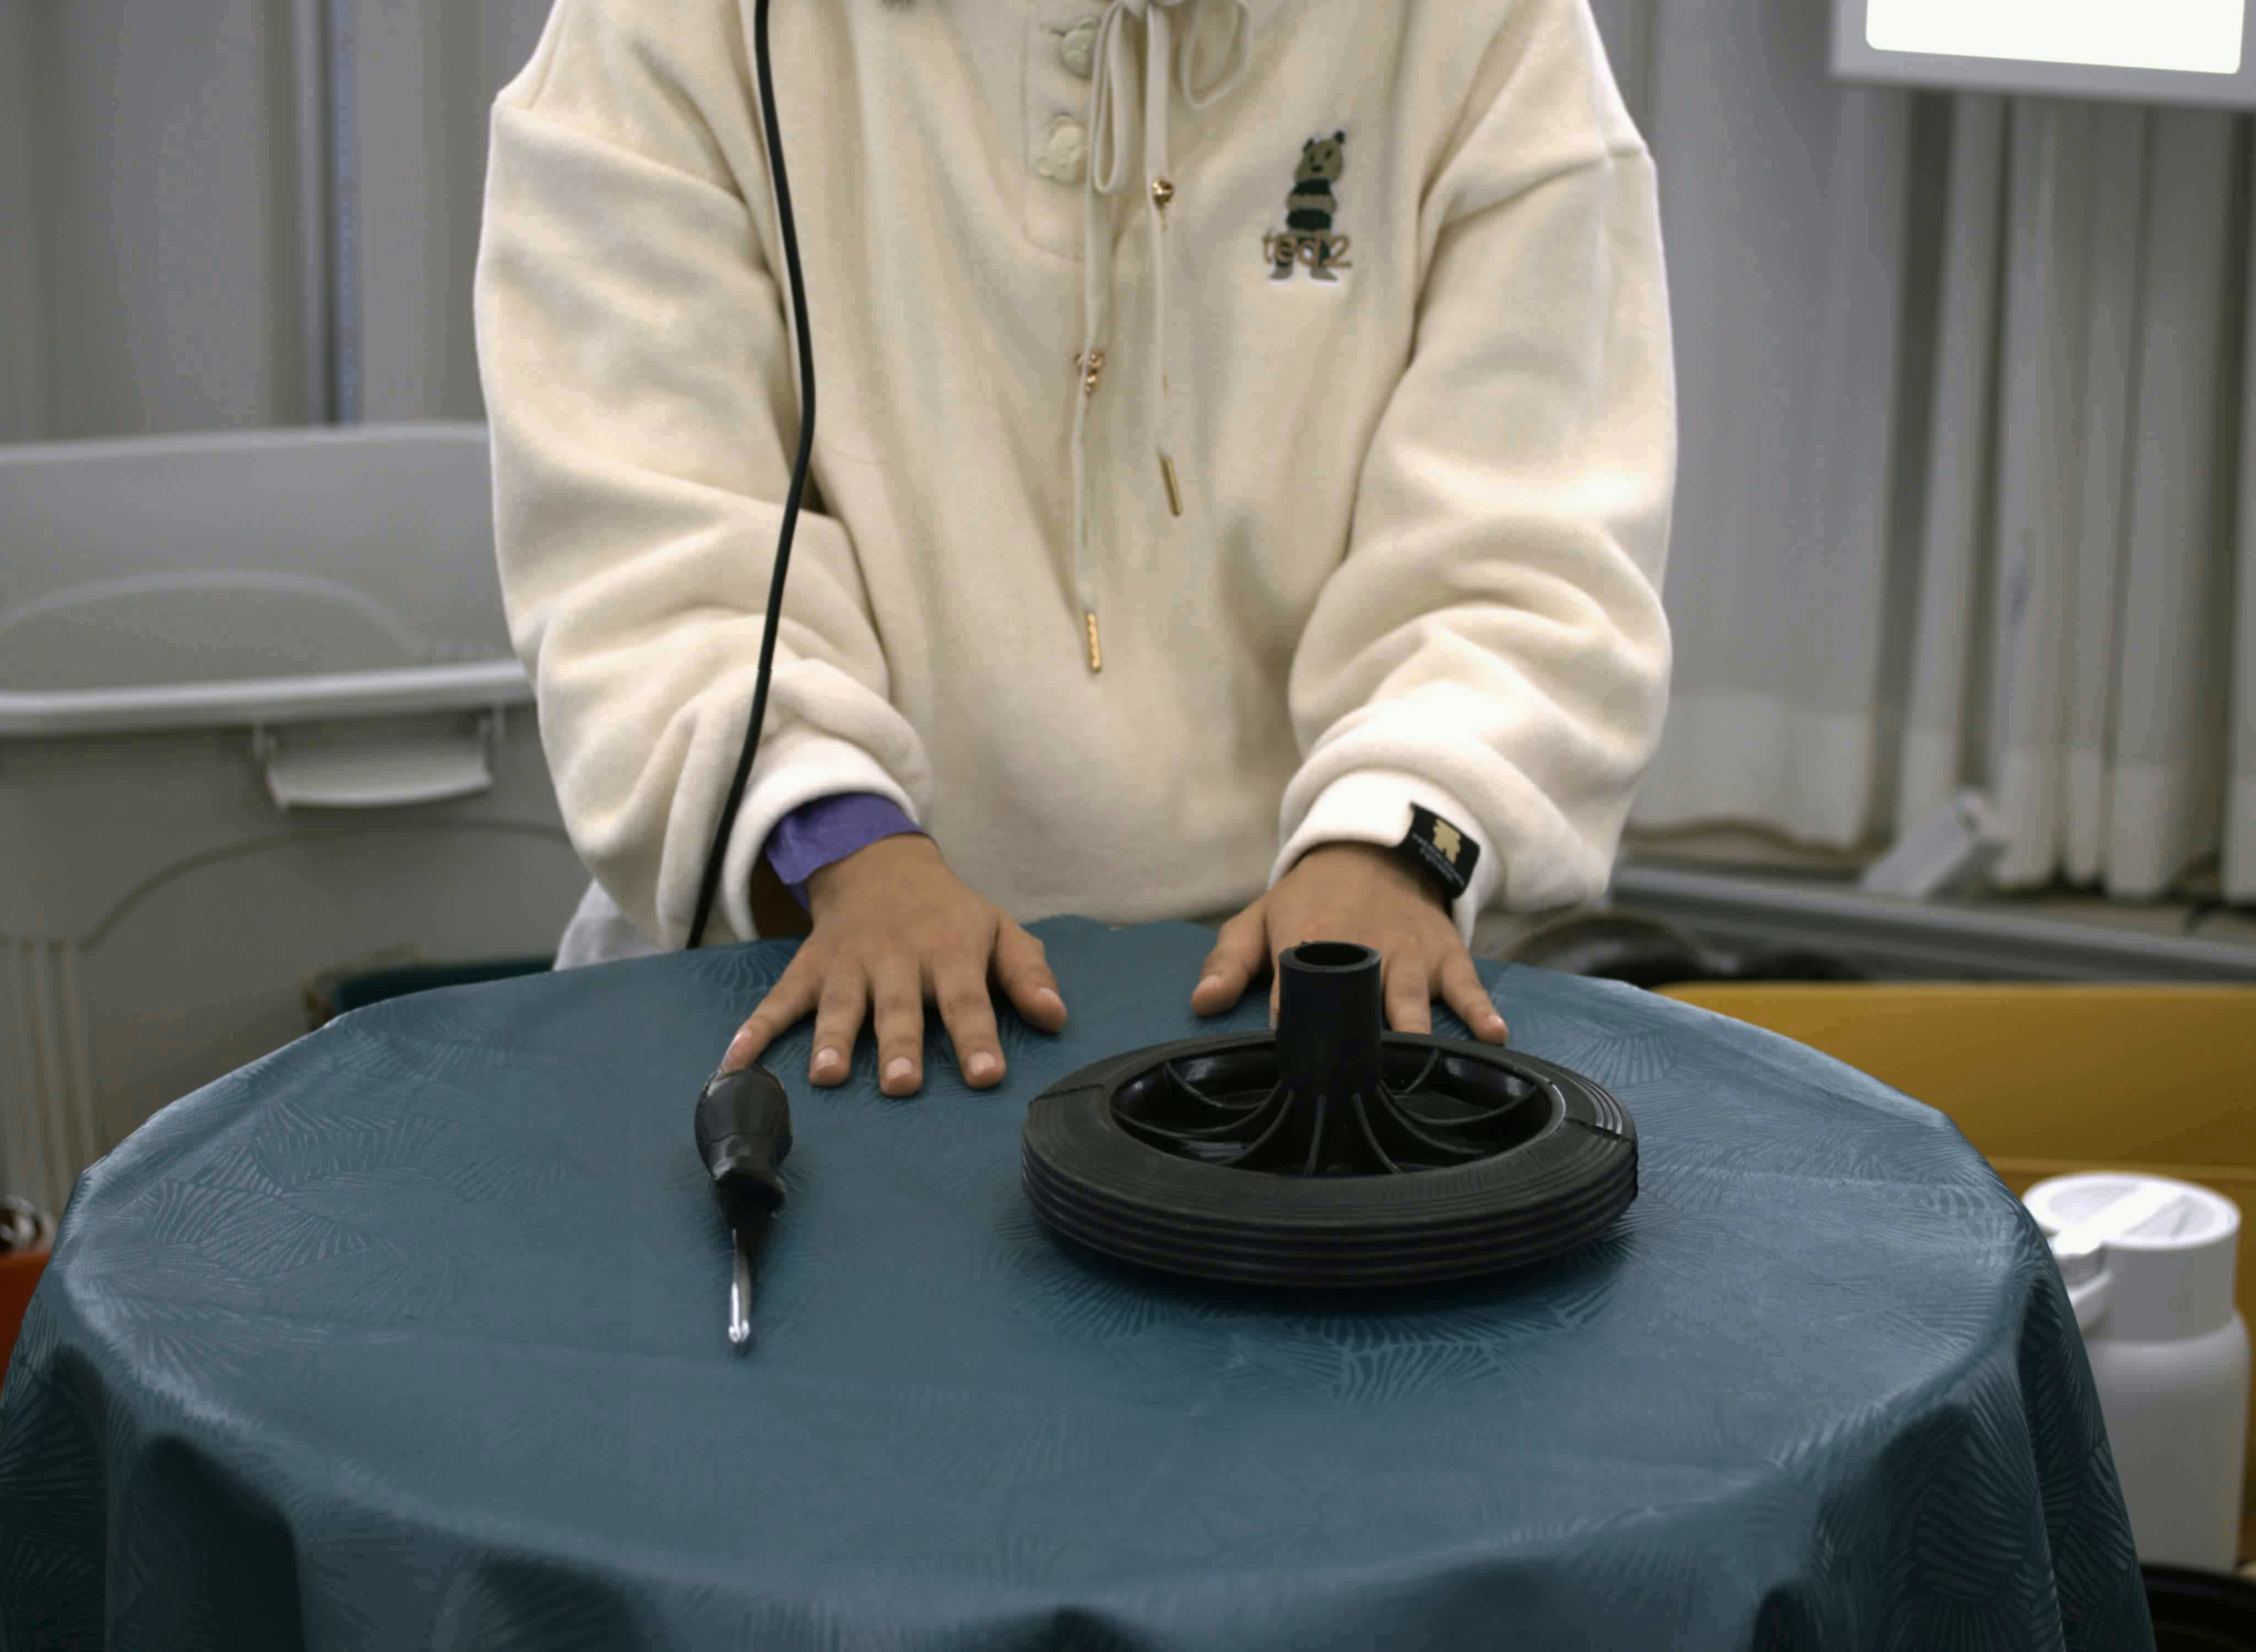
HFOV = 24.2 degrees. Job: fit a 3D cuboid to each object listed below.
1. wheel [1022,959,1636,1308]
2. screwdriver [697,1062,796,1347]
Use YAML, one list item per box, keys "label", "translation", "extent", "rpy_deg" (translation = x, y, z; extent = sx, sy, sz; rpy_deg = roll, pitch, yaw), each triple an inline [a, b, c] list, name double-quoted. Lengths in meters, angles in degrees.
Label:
- label: "wheel"
  translation: [0.060, 0.082, 1.592]
  extent: [0.190, 0.080, 0.185]
  rpy_deg: [-17, 23, -39]
- label: "screwdriver"
  translation: [-0.112, 0.113, 1.571]
  extent: [0.031, 0.032, 0.195]
  rpy_deg: [-1, 18, -6]
